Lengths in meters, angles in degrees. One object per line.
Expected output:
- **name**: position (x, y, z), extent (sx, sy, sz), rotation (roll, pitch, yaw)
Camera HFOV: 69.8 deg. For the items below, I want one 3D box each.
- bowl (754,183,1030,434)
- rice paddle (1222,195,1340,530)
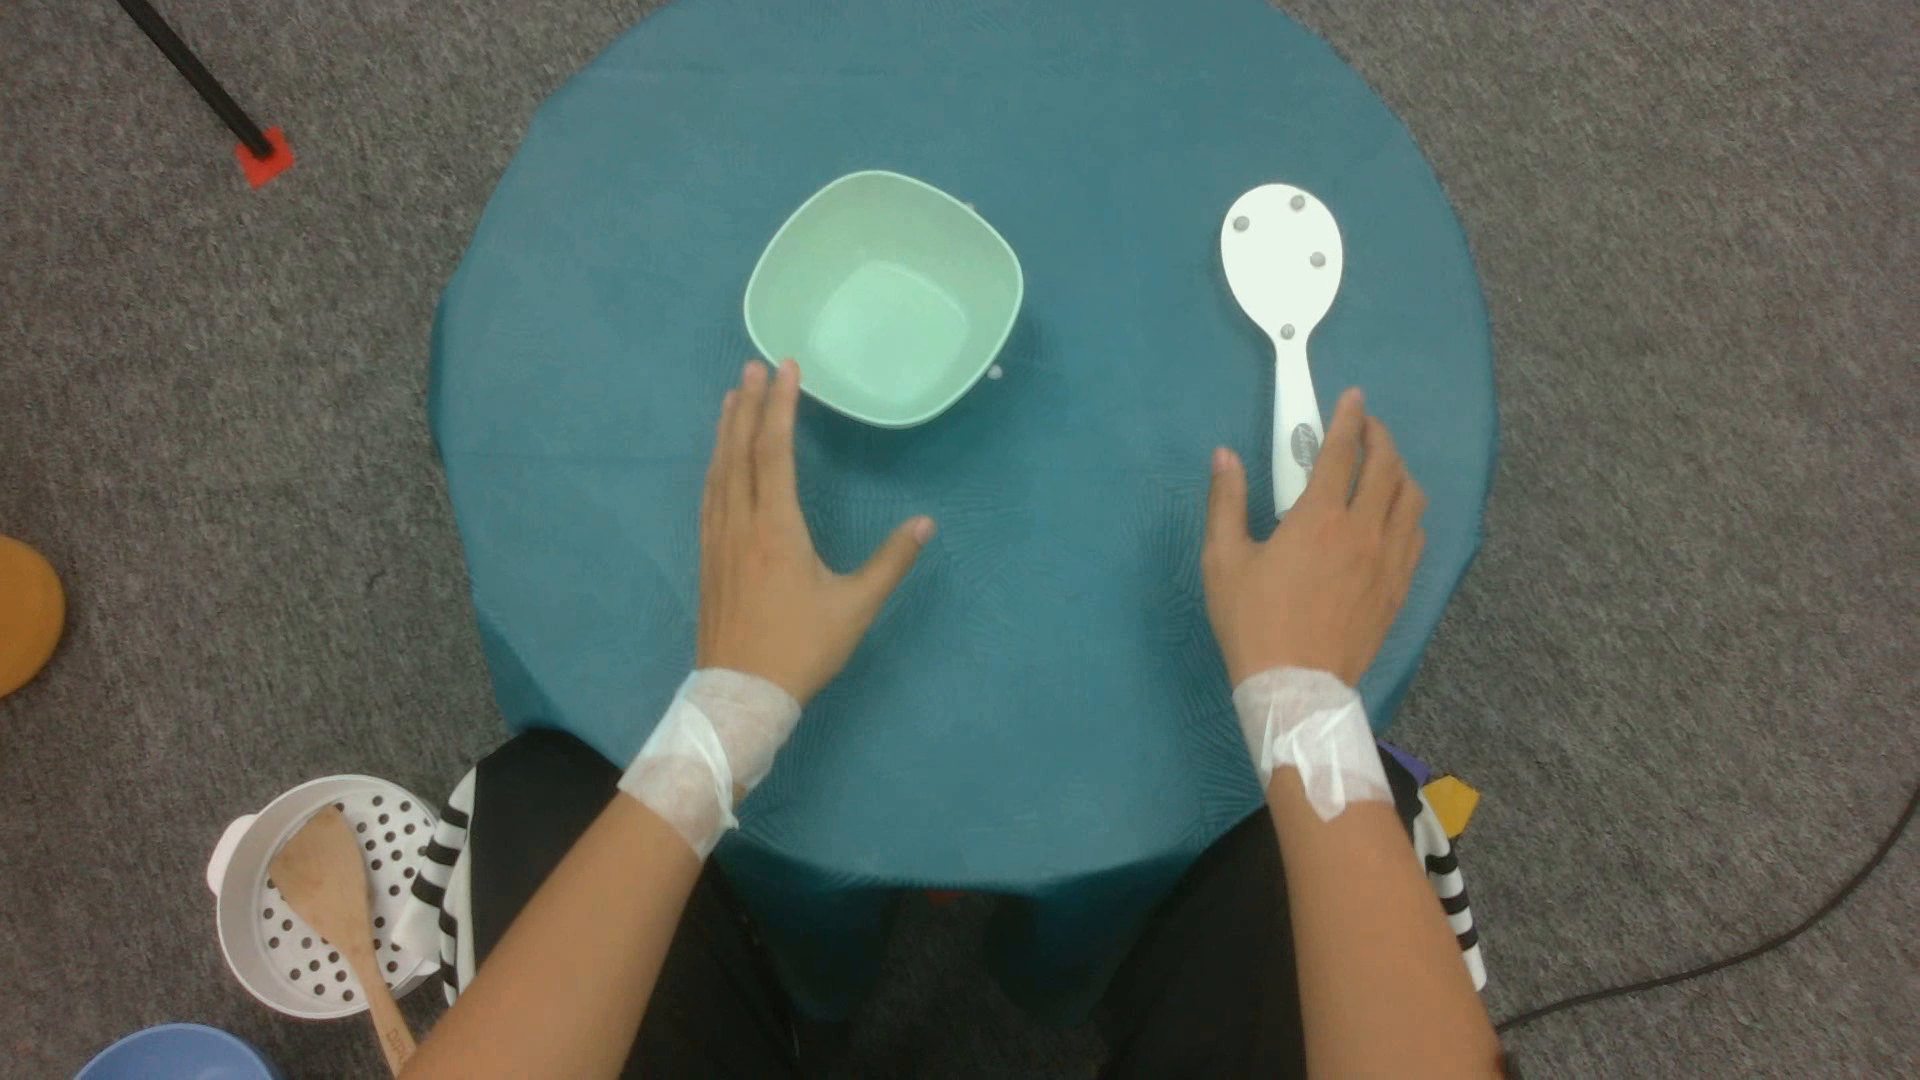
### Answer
- **bowl**: position (-0.037, -0.121, 0.776), extent (0.151, 0.058, 0.152), rotation (1, 71, -1)
- **rice paddle**: position (0.189, -0.107, 0.784), extent (0.069, 0.029, 0.206), rotation (-2, 73, -1)
